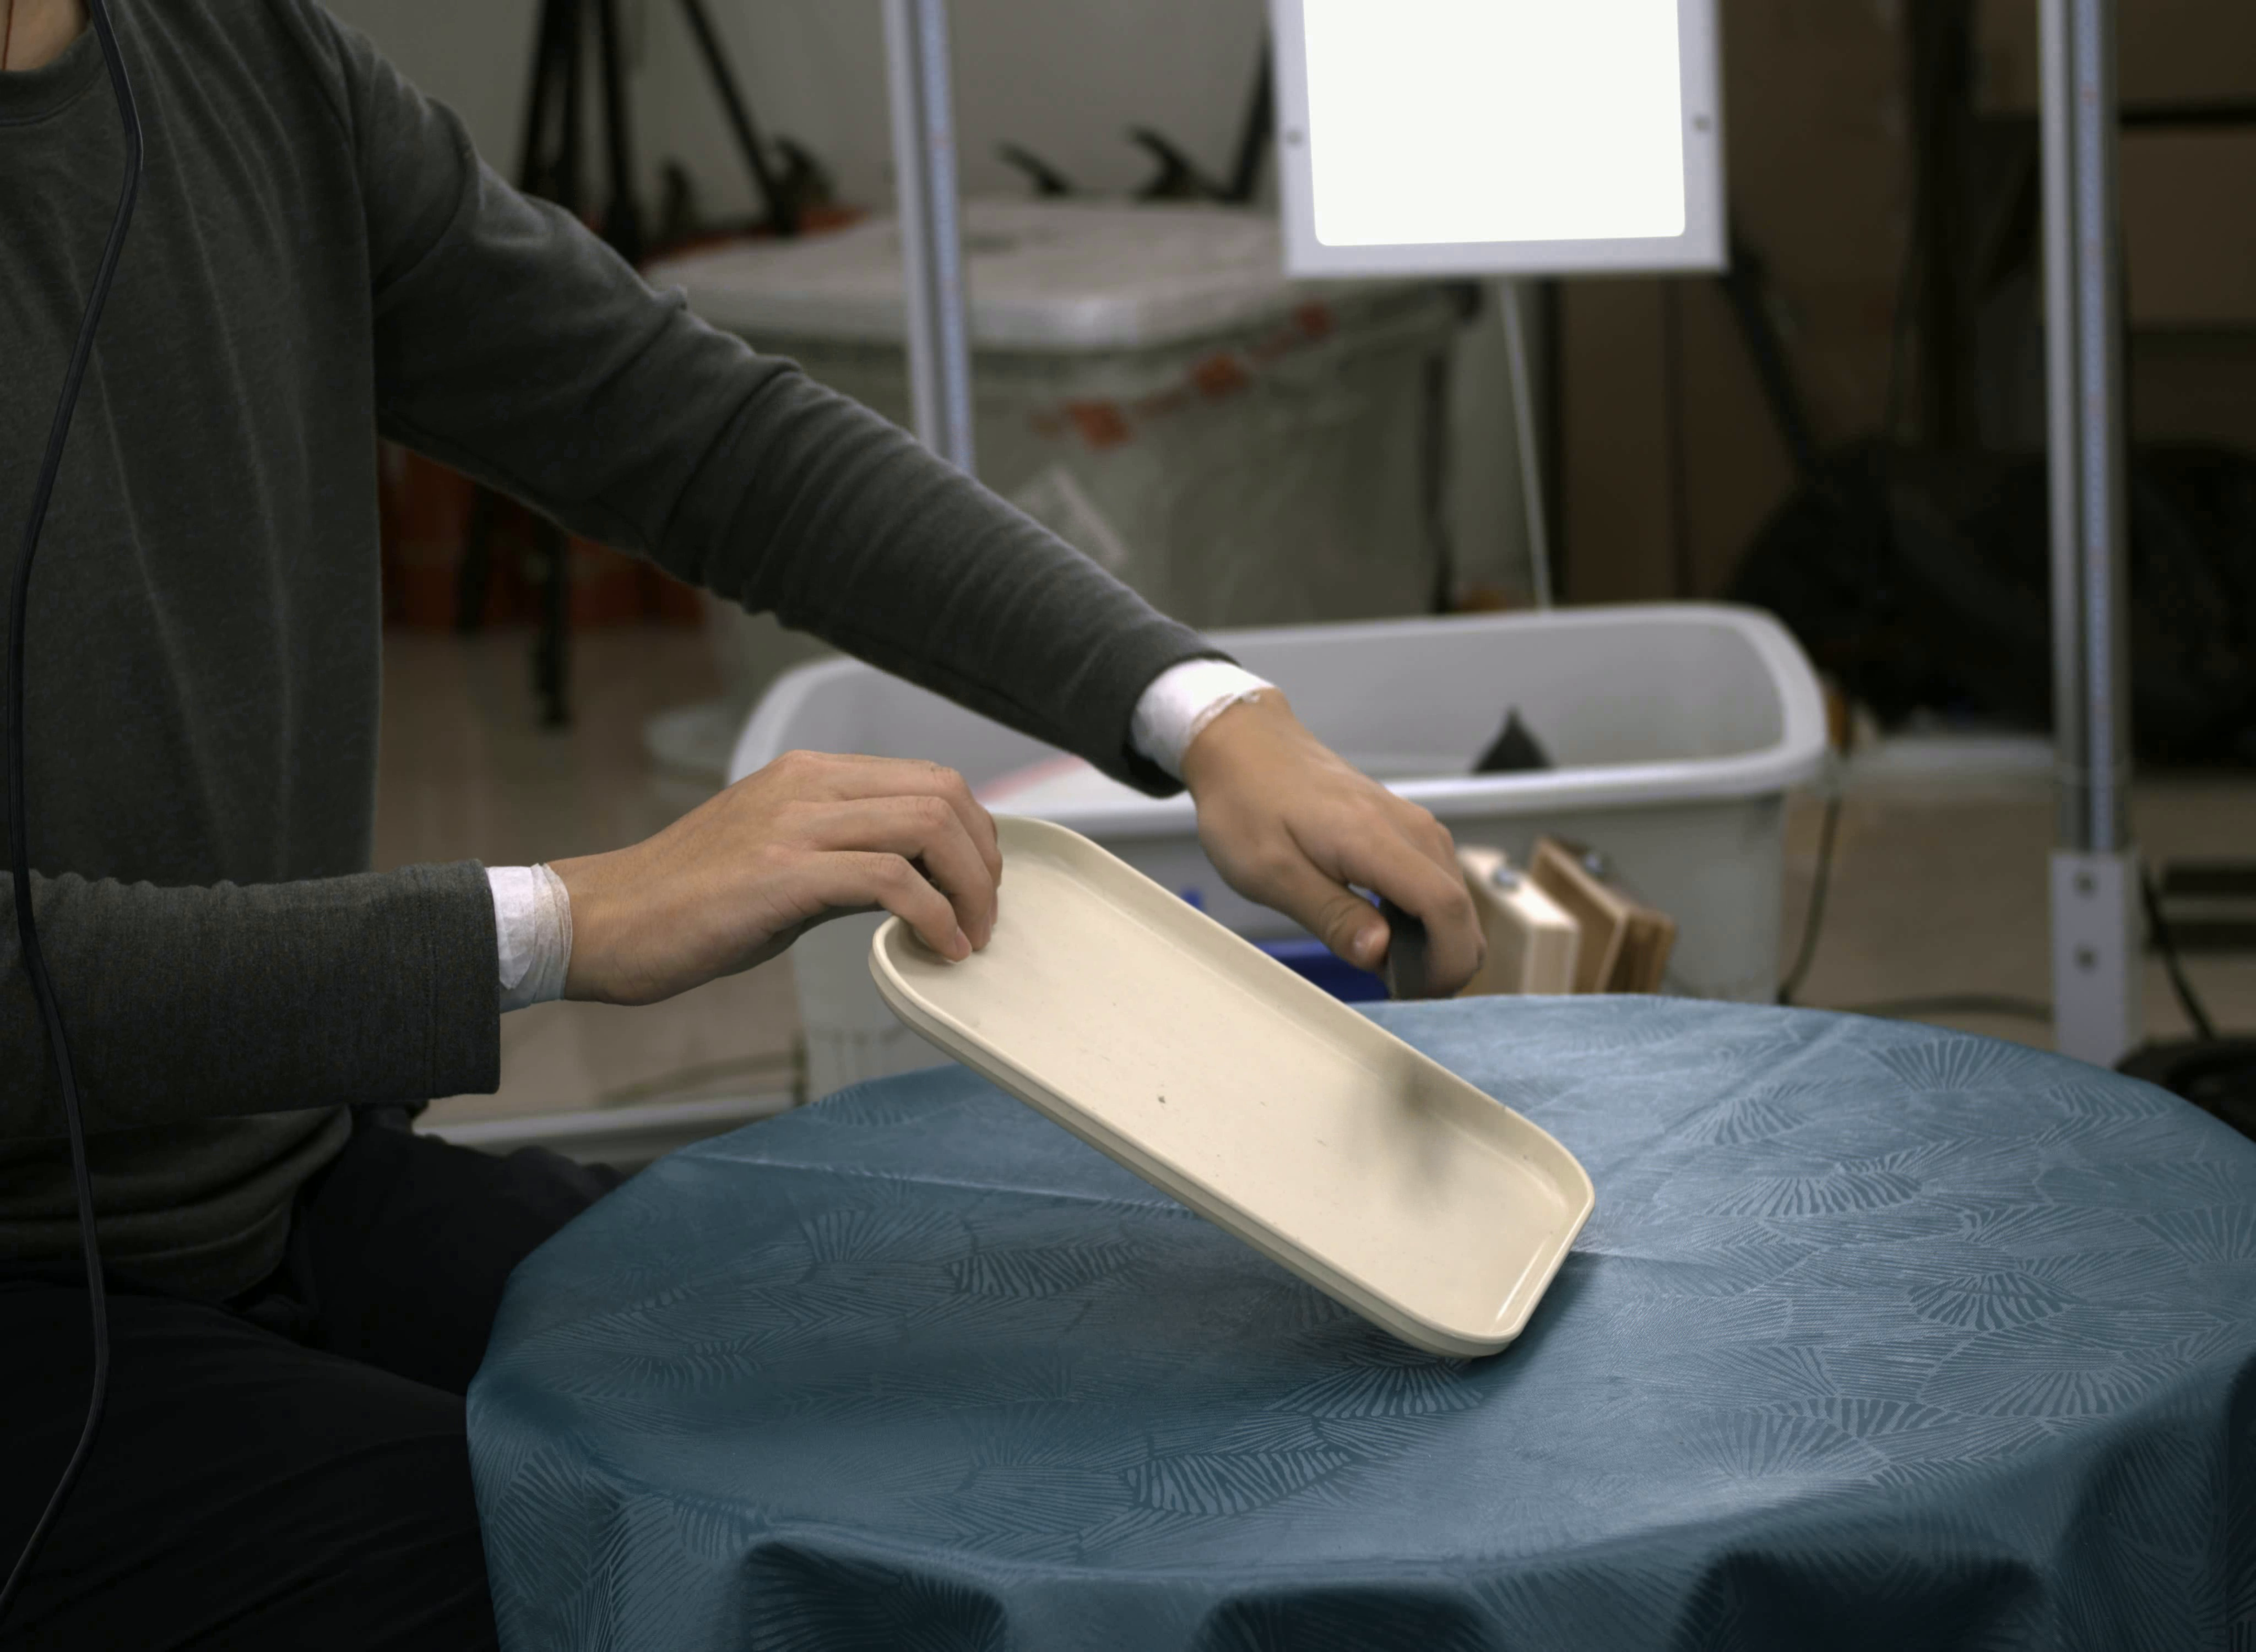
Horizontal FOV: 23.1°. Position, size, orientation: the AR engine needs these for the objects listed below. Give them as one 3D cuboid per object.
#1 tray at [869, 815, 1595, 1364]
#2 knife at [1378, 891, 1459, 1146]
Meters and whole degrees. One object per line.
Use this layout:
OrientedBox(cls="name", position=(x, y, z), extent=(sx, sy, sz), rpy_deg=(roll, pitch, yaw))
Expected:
OrientedBox(cls="tray", position=(0.034, 0.084, 1.771), extent=(0.240, 0.018, 0.168), rpy_deg=(32, 25, 7))
OrientedBox(cls="knife", position=(0.098, 0.064, 1.872), extent=(0.024, 0.016, 0.237), rpy_deg=(25, 16, -8))
